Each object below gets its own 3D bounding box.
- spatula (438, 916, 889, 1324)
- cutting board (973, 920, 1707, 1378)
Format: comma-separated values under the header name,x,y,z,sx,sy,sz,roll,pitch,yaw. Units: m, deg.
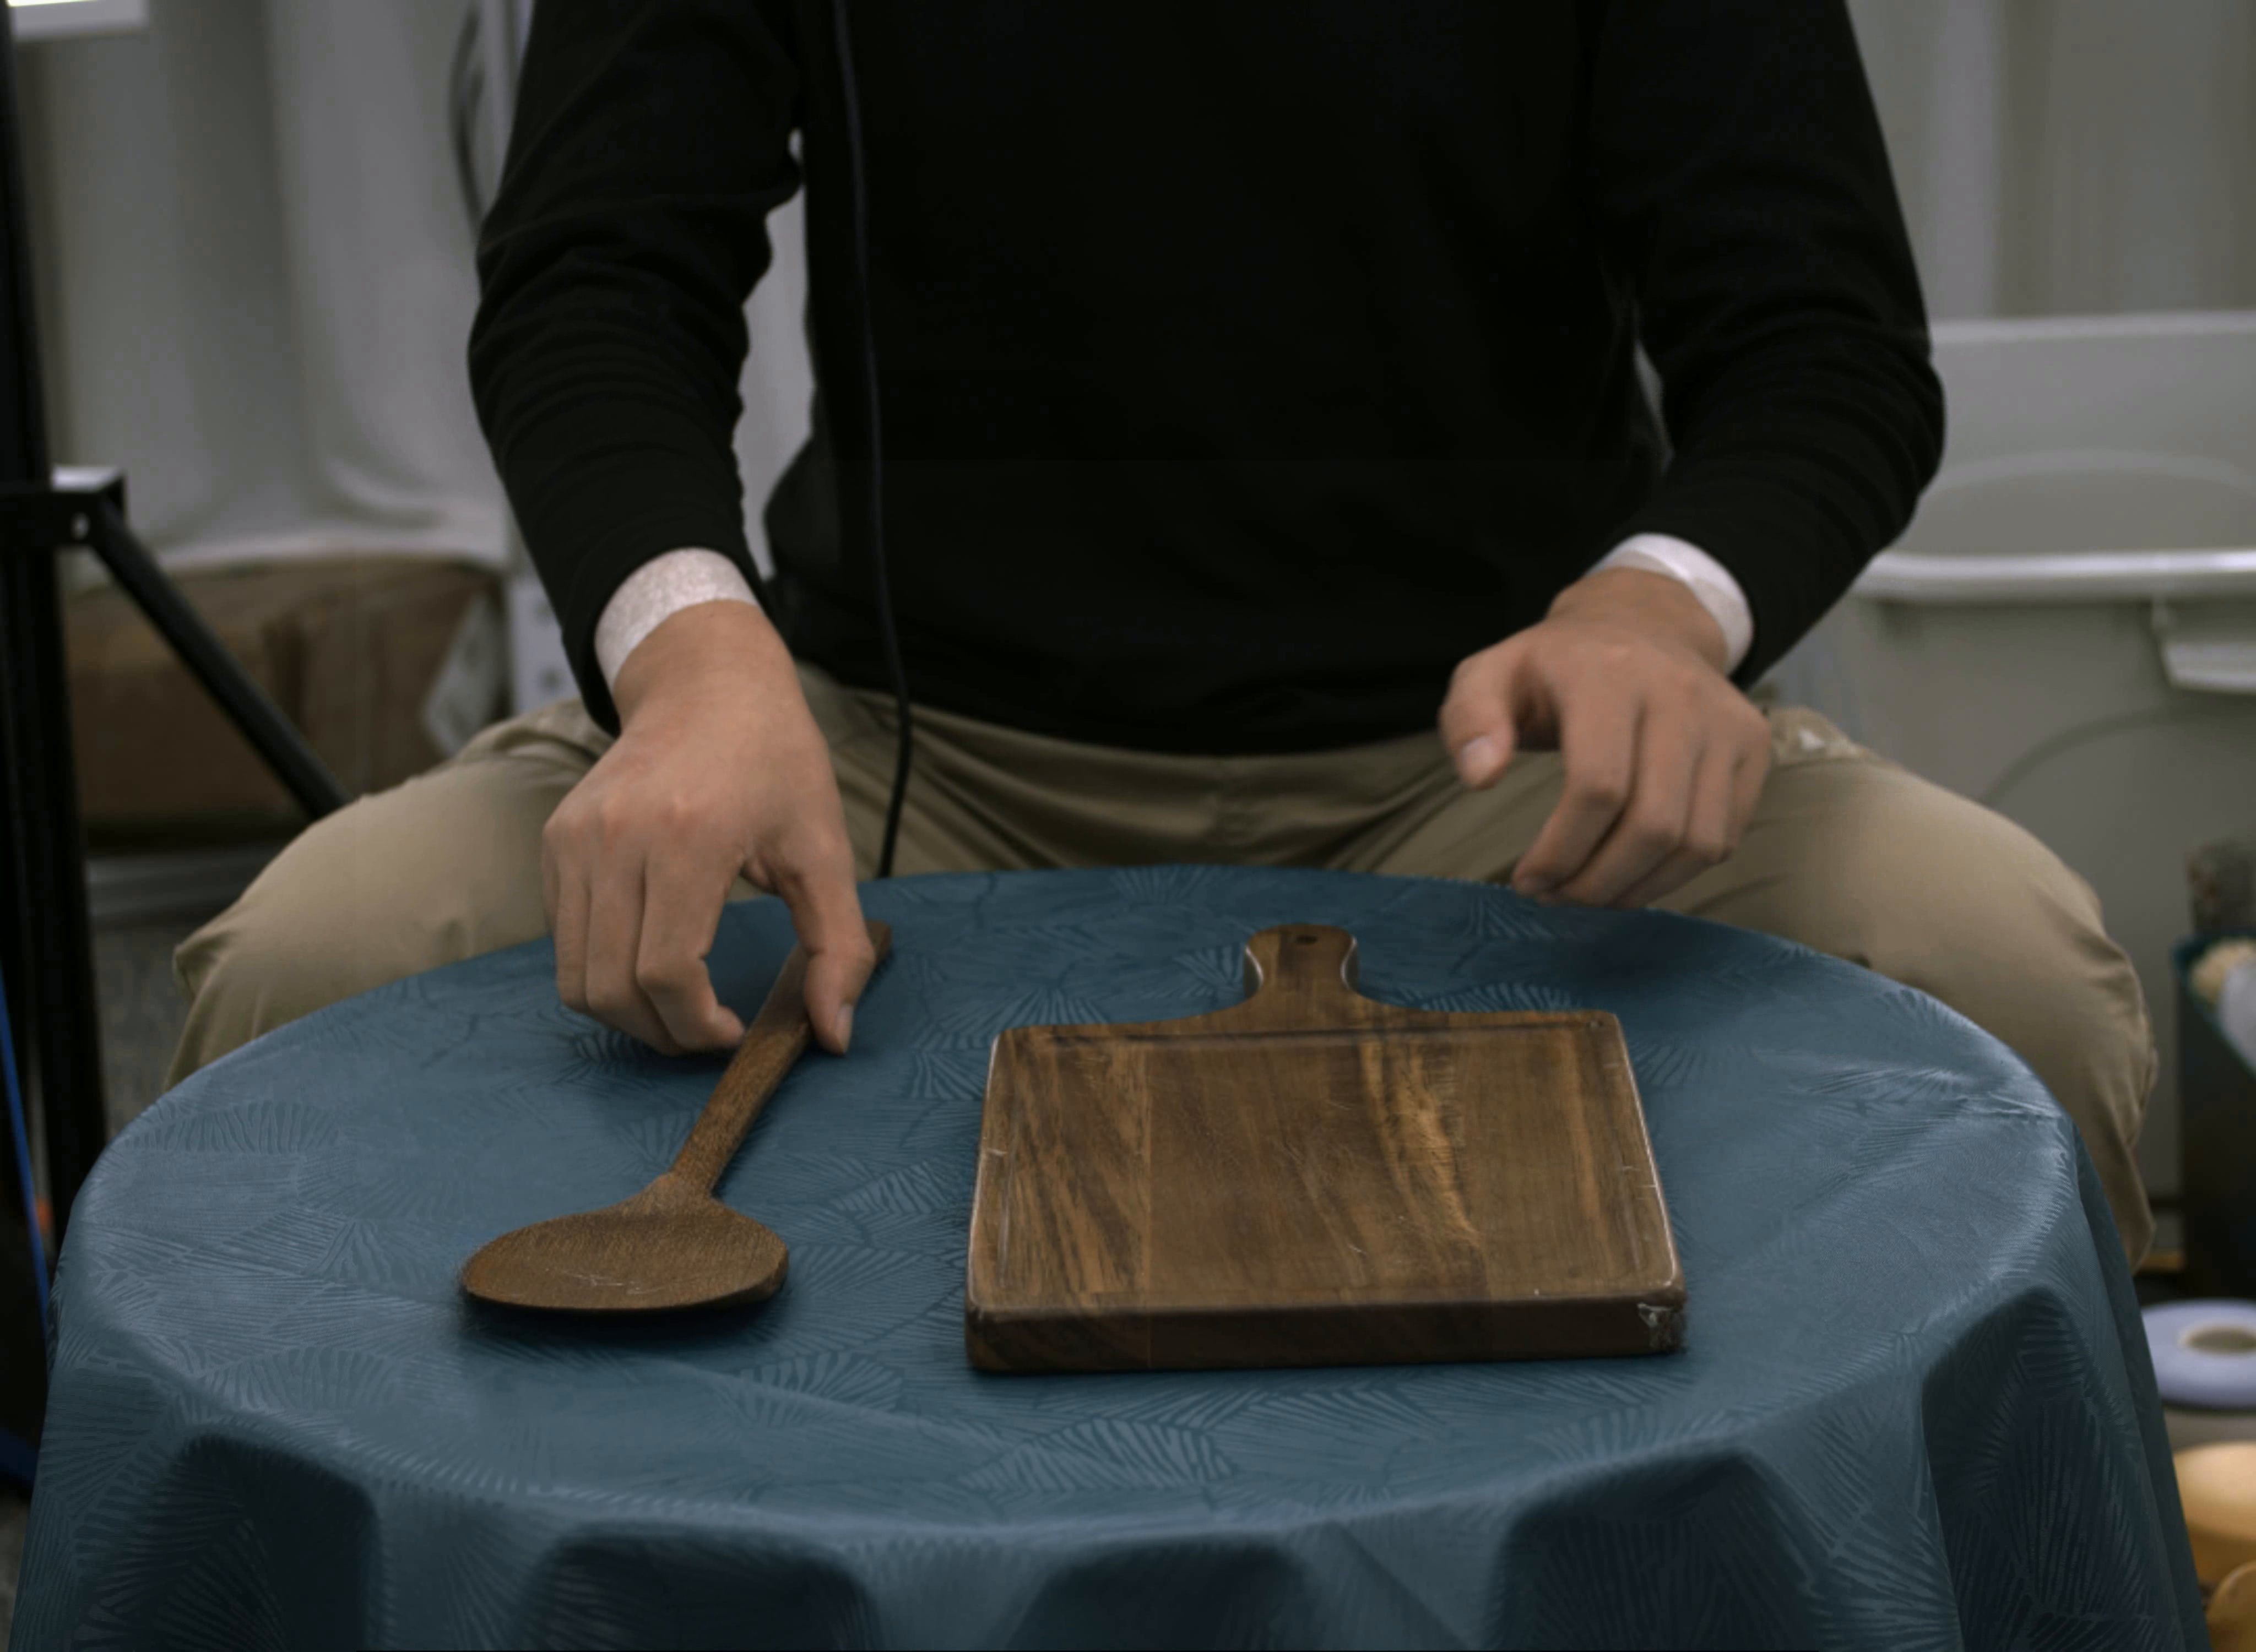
name,x,y,z,sx,sy,sz,roll,pitch,yaw
spatula,-0.120,0.084,1.635,0.096,0.016,0.385,0,16,9
cutting board,0.055,0.089,1.579,0.200,0.023,0.353,-2,16,1
